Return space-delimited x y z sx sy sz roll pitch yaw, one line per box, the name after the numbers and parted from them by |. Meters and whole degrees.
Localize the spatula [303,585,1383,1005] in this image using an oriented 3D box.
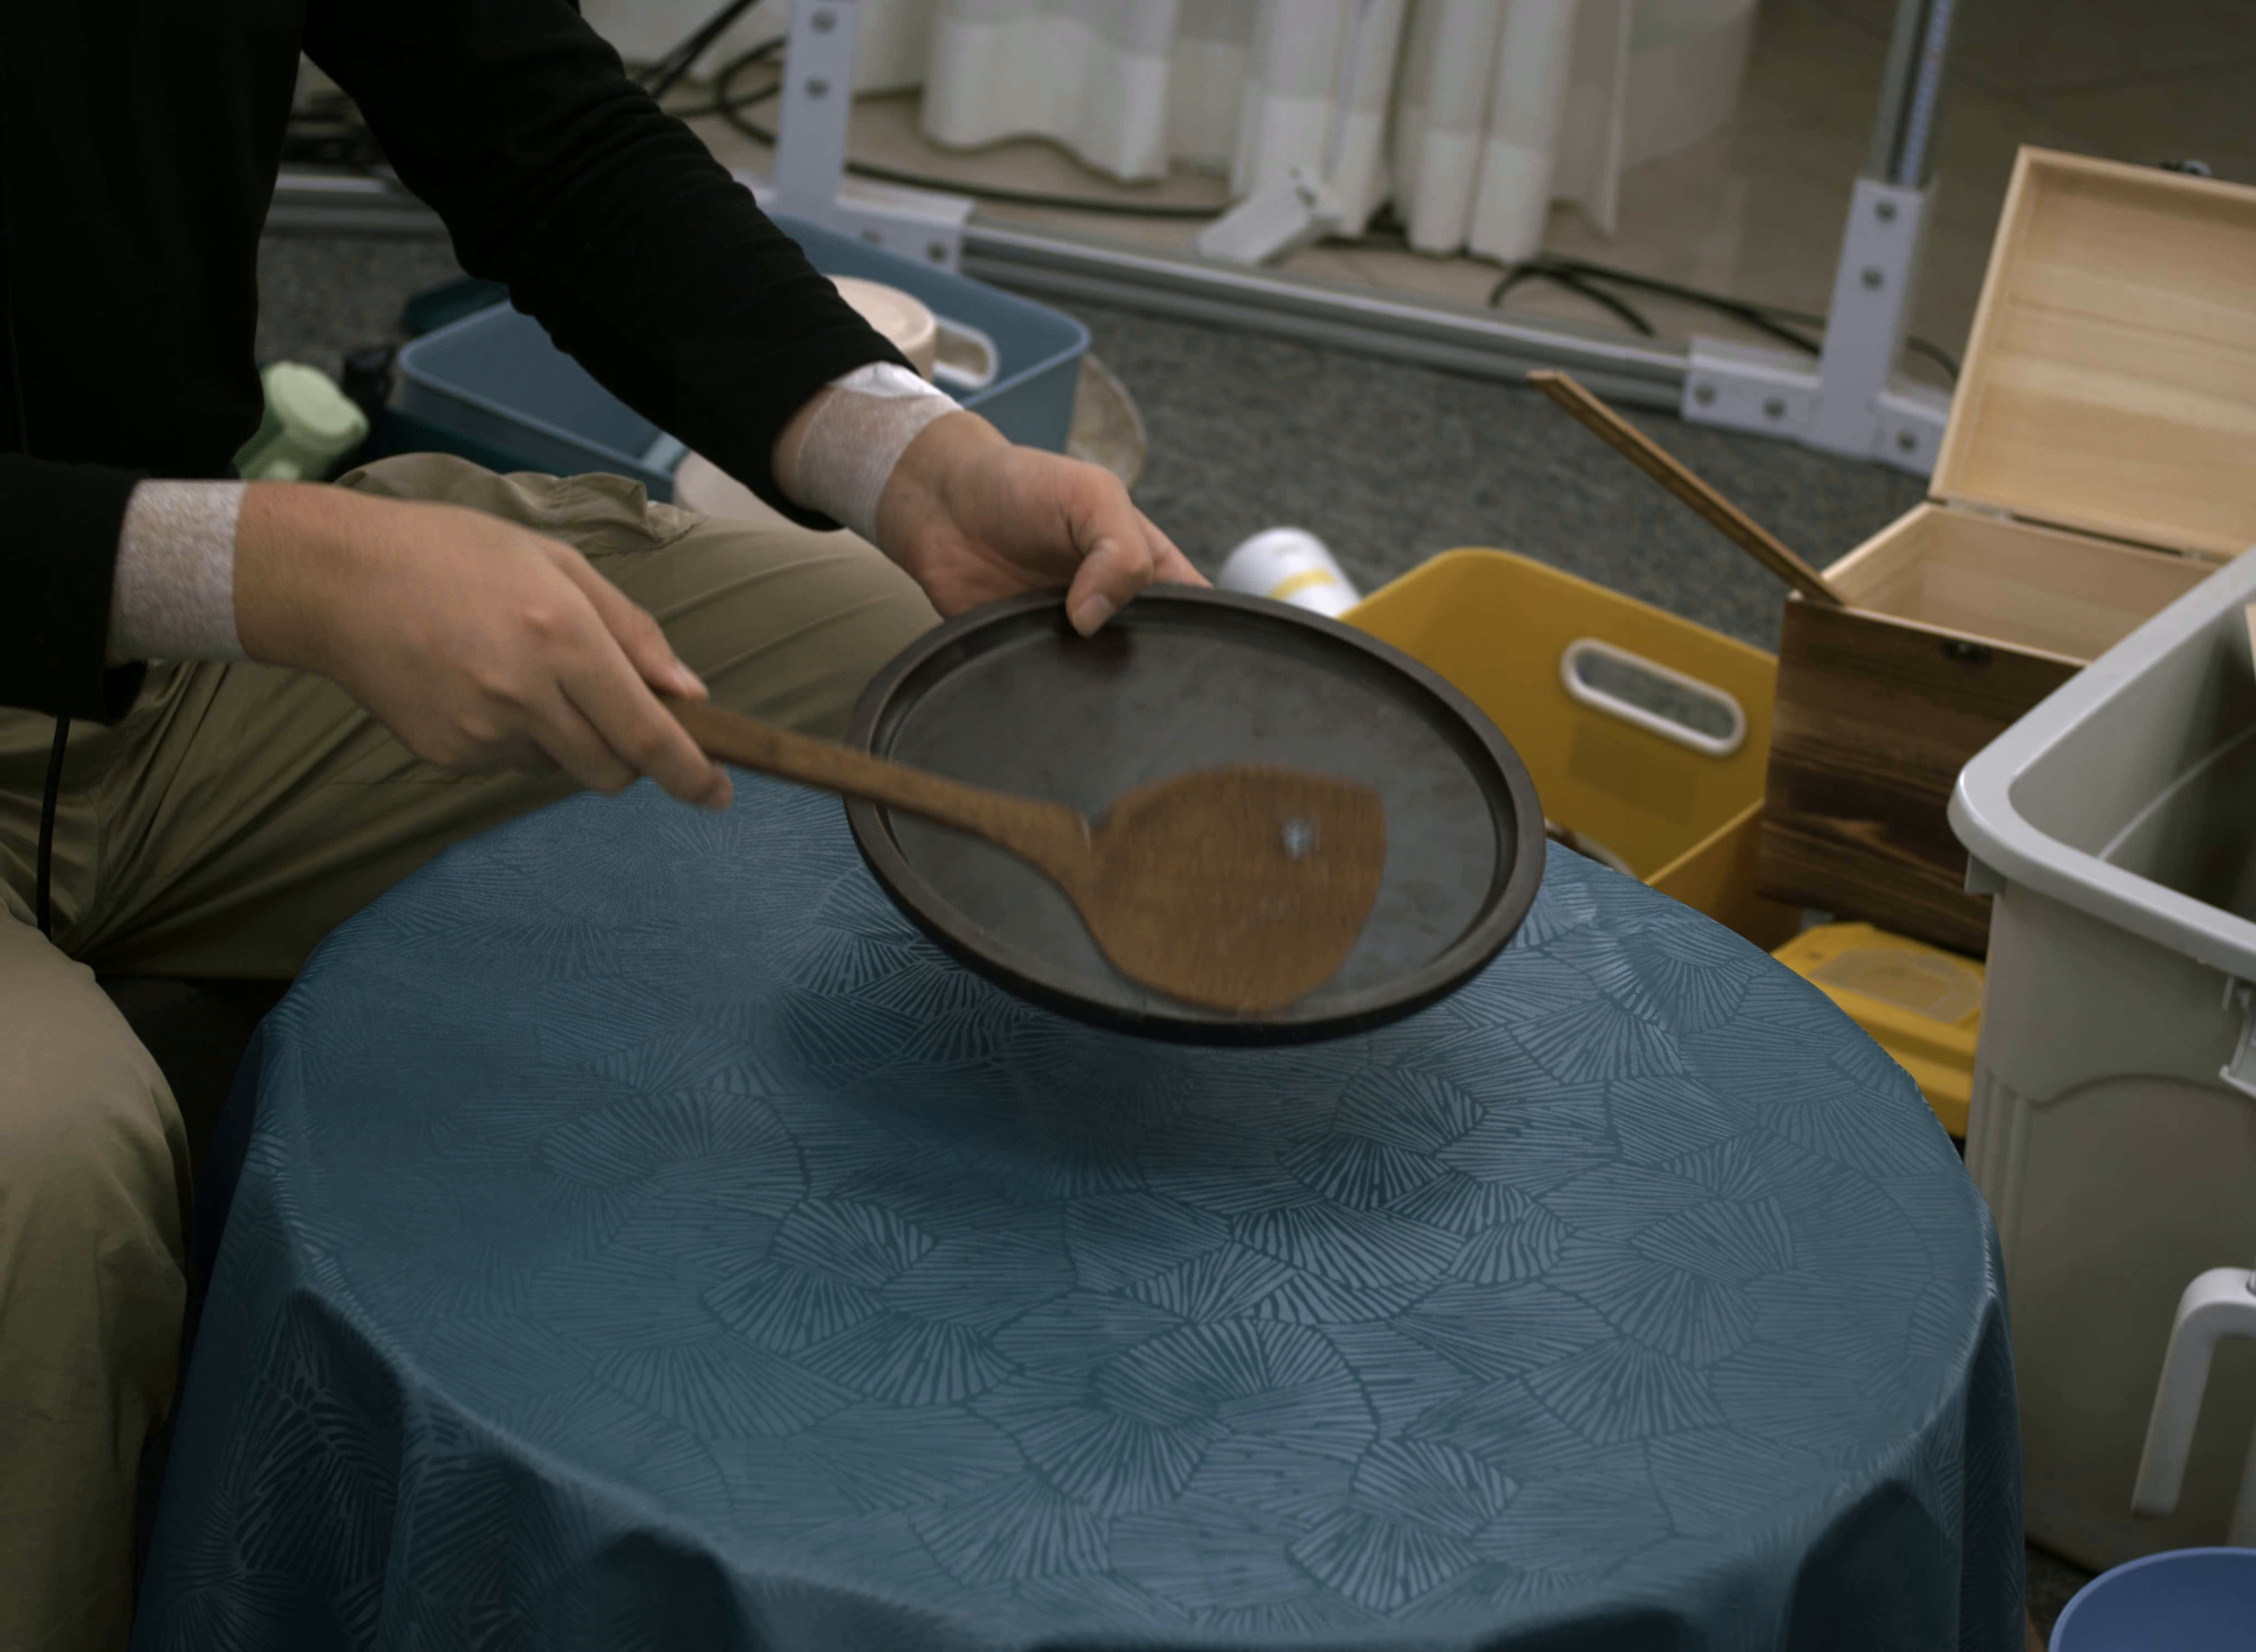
-0.102 -0.024 1.752 0.387 0.015 0.096 16 61 17 | spatula

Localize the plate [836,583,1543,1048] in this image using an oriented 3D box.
0.021 -0.006 1.885 0.254 0.029 0.257 6 38 -5 | plate
